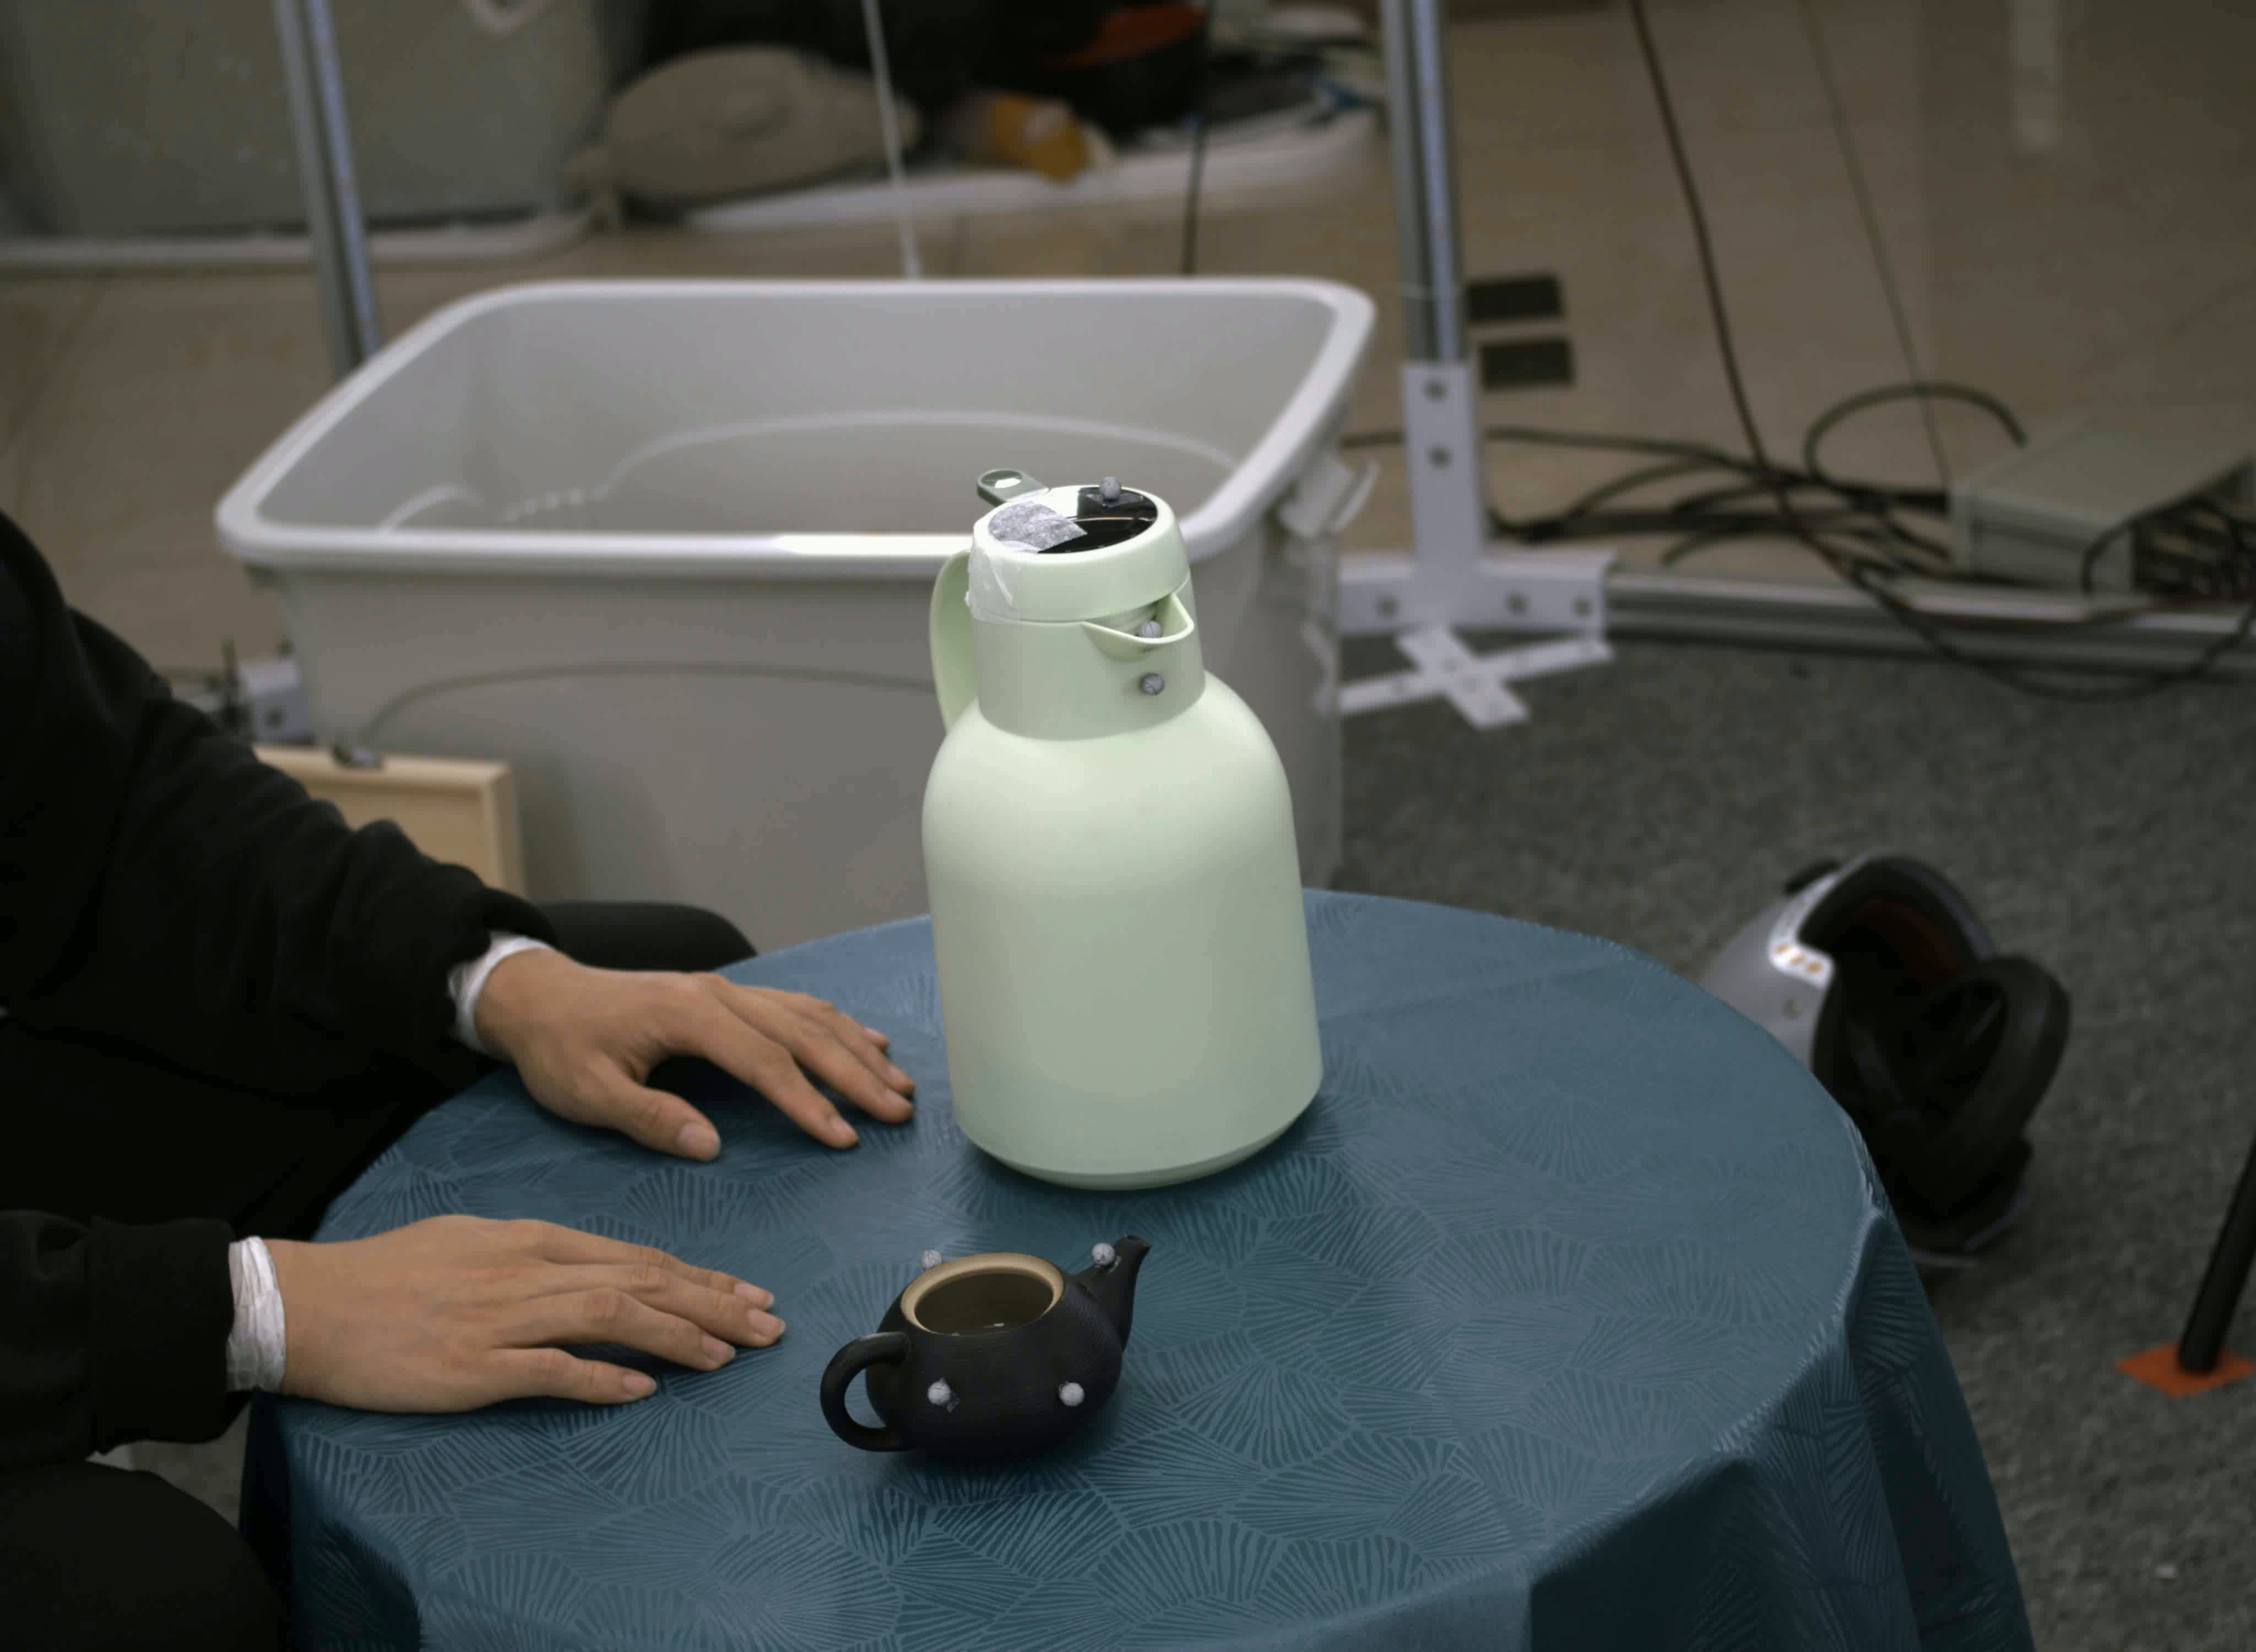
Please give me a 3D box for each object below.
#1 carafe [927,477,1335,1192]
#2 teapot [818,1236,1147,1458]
[{"bbox_3d":[-0.013,-0.004,2.160,0.143,0.260,0.185,-21,26,-24],"label":"carafe"},{"bbox_3d":[-0.049,0.187,1.995,0.132,0.054,0.090,-19,26,-25],"label":"teapot"}]
